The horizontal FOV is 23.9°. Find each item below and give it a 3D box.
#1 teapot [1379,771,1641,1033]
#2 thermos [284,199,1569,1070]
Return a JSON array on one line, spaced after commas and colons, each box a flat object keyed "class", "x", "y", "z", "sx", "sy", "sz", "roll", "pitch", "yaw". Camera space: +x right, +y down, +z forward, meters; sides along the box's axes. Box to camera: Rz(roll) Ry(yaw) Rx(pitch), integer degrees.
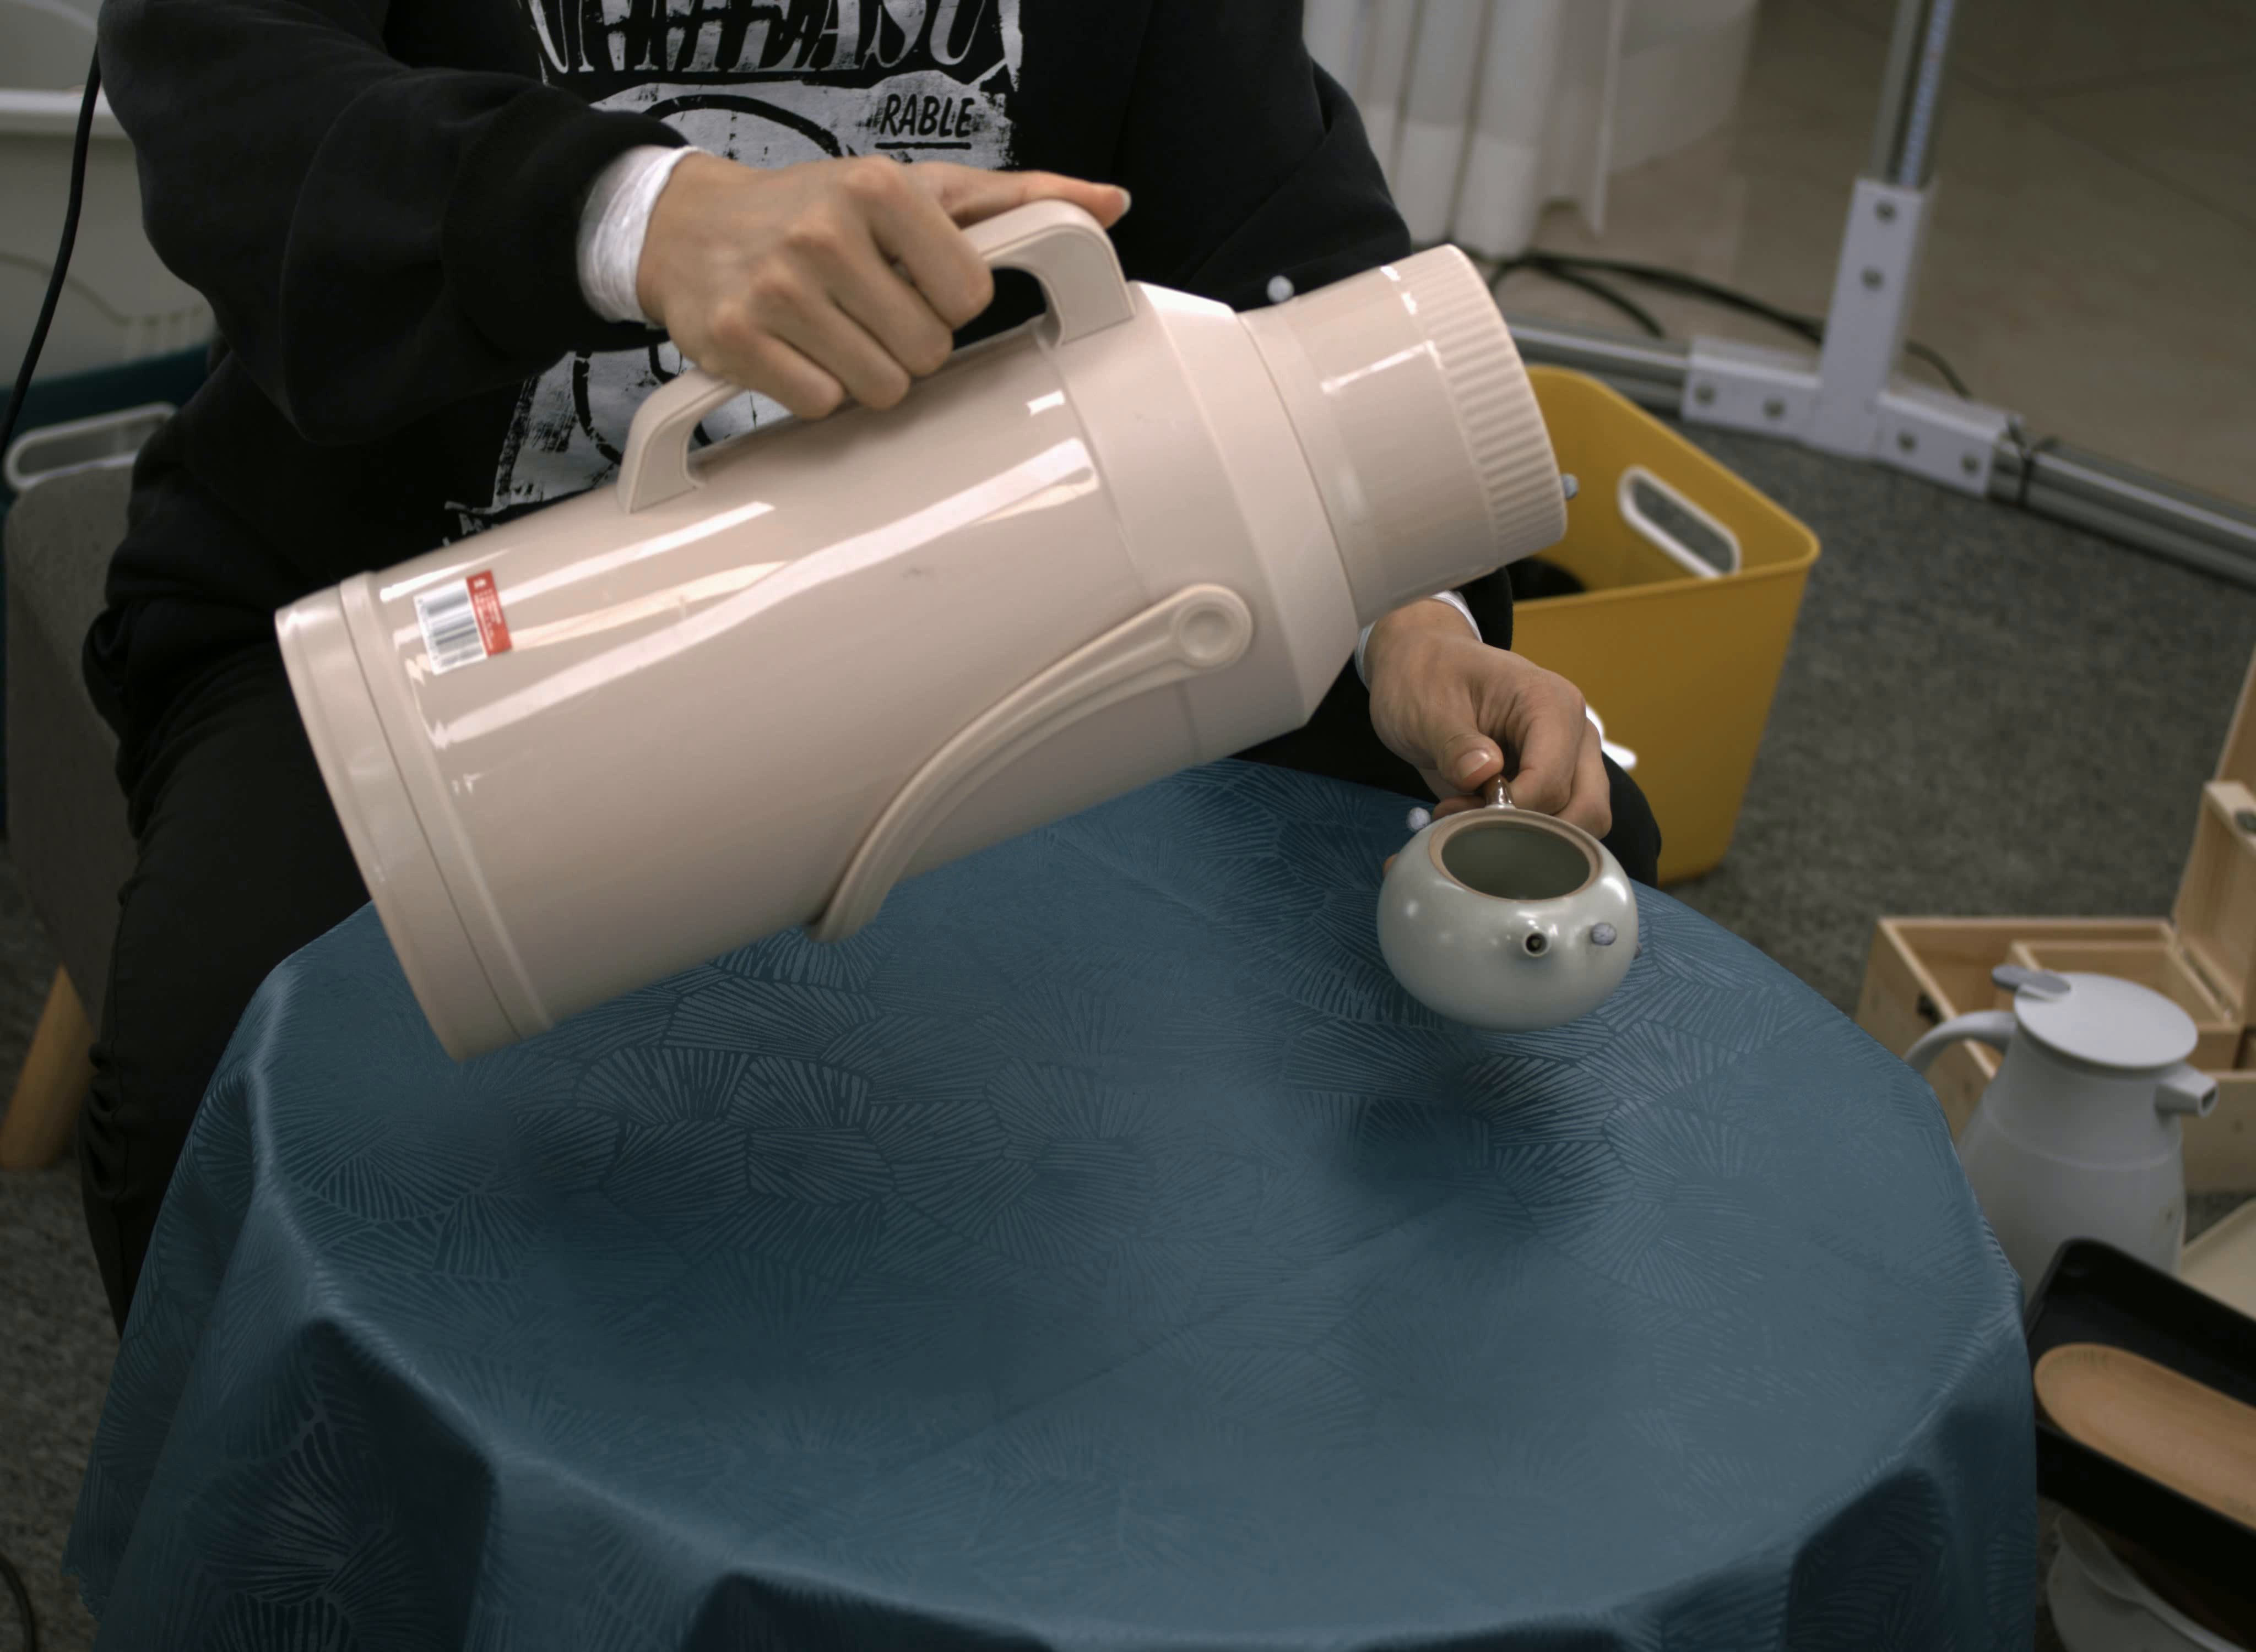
[{"class": "teapot", "x": 0.132, "y": 0.028, "z": 1.871, "sx": 0.091, "sy": 0.059, "sz": 0.129, "roll": -2, "pitch": 32, "yaw": -5}, {"class": "thermos", "x": -0.067, "y": -0.080, "z": 1.730, "sx": 0.405, "sy": 0.206, "sz": 0.176, "roll": -22, "pitch": 28, "yaw": 0}]
